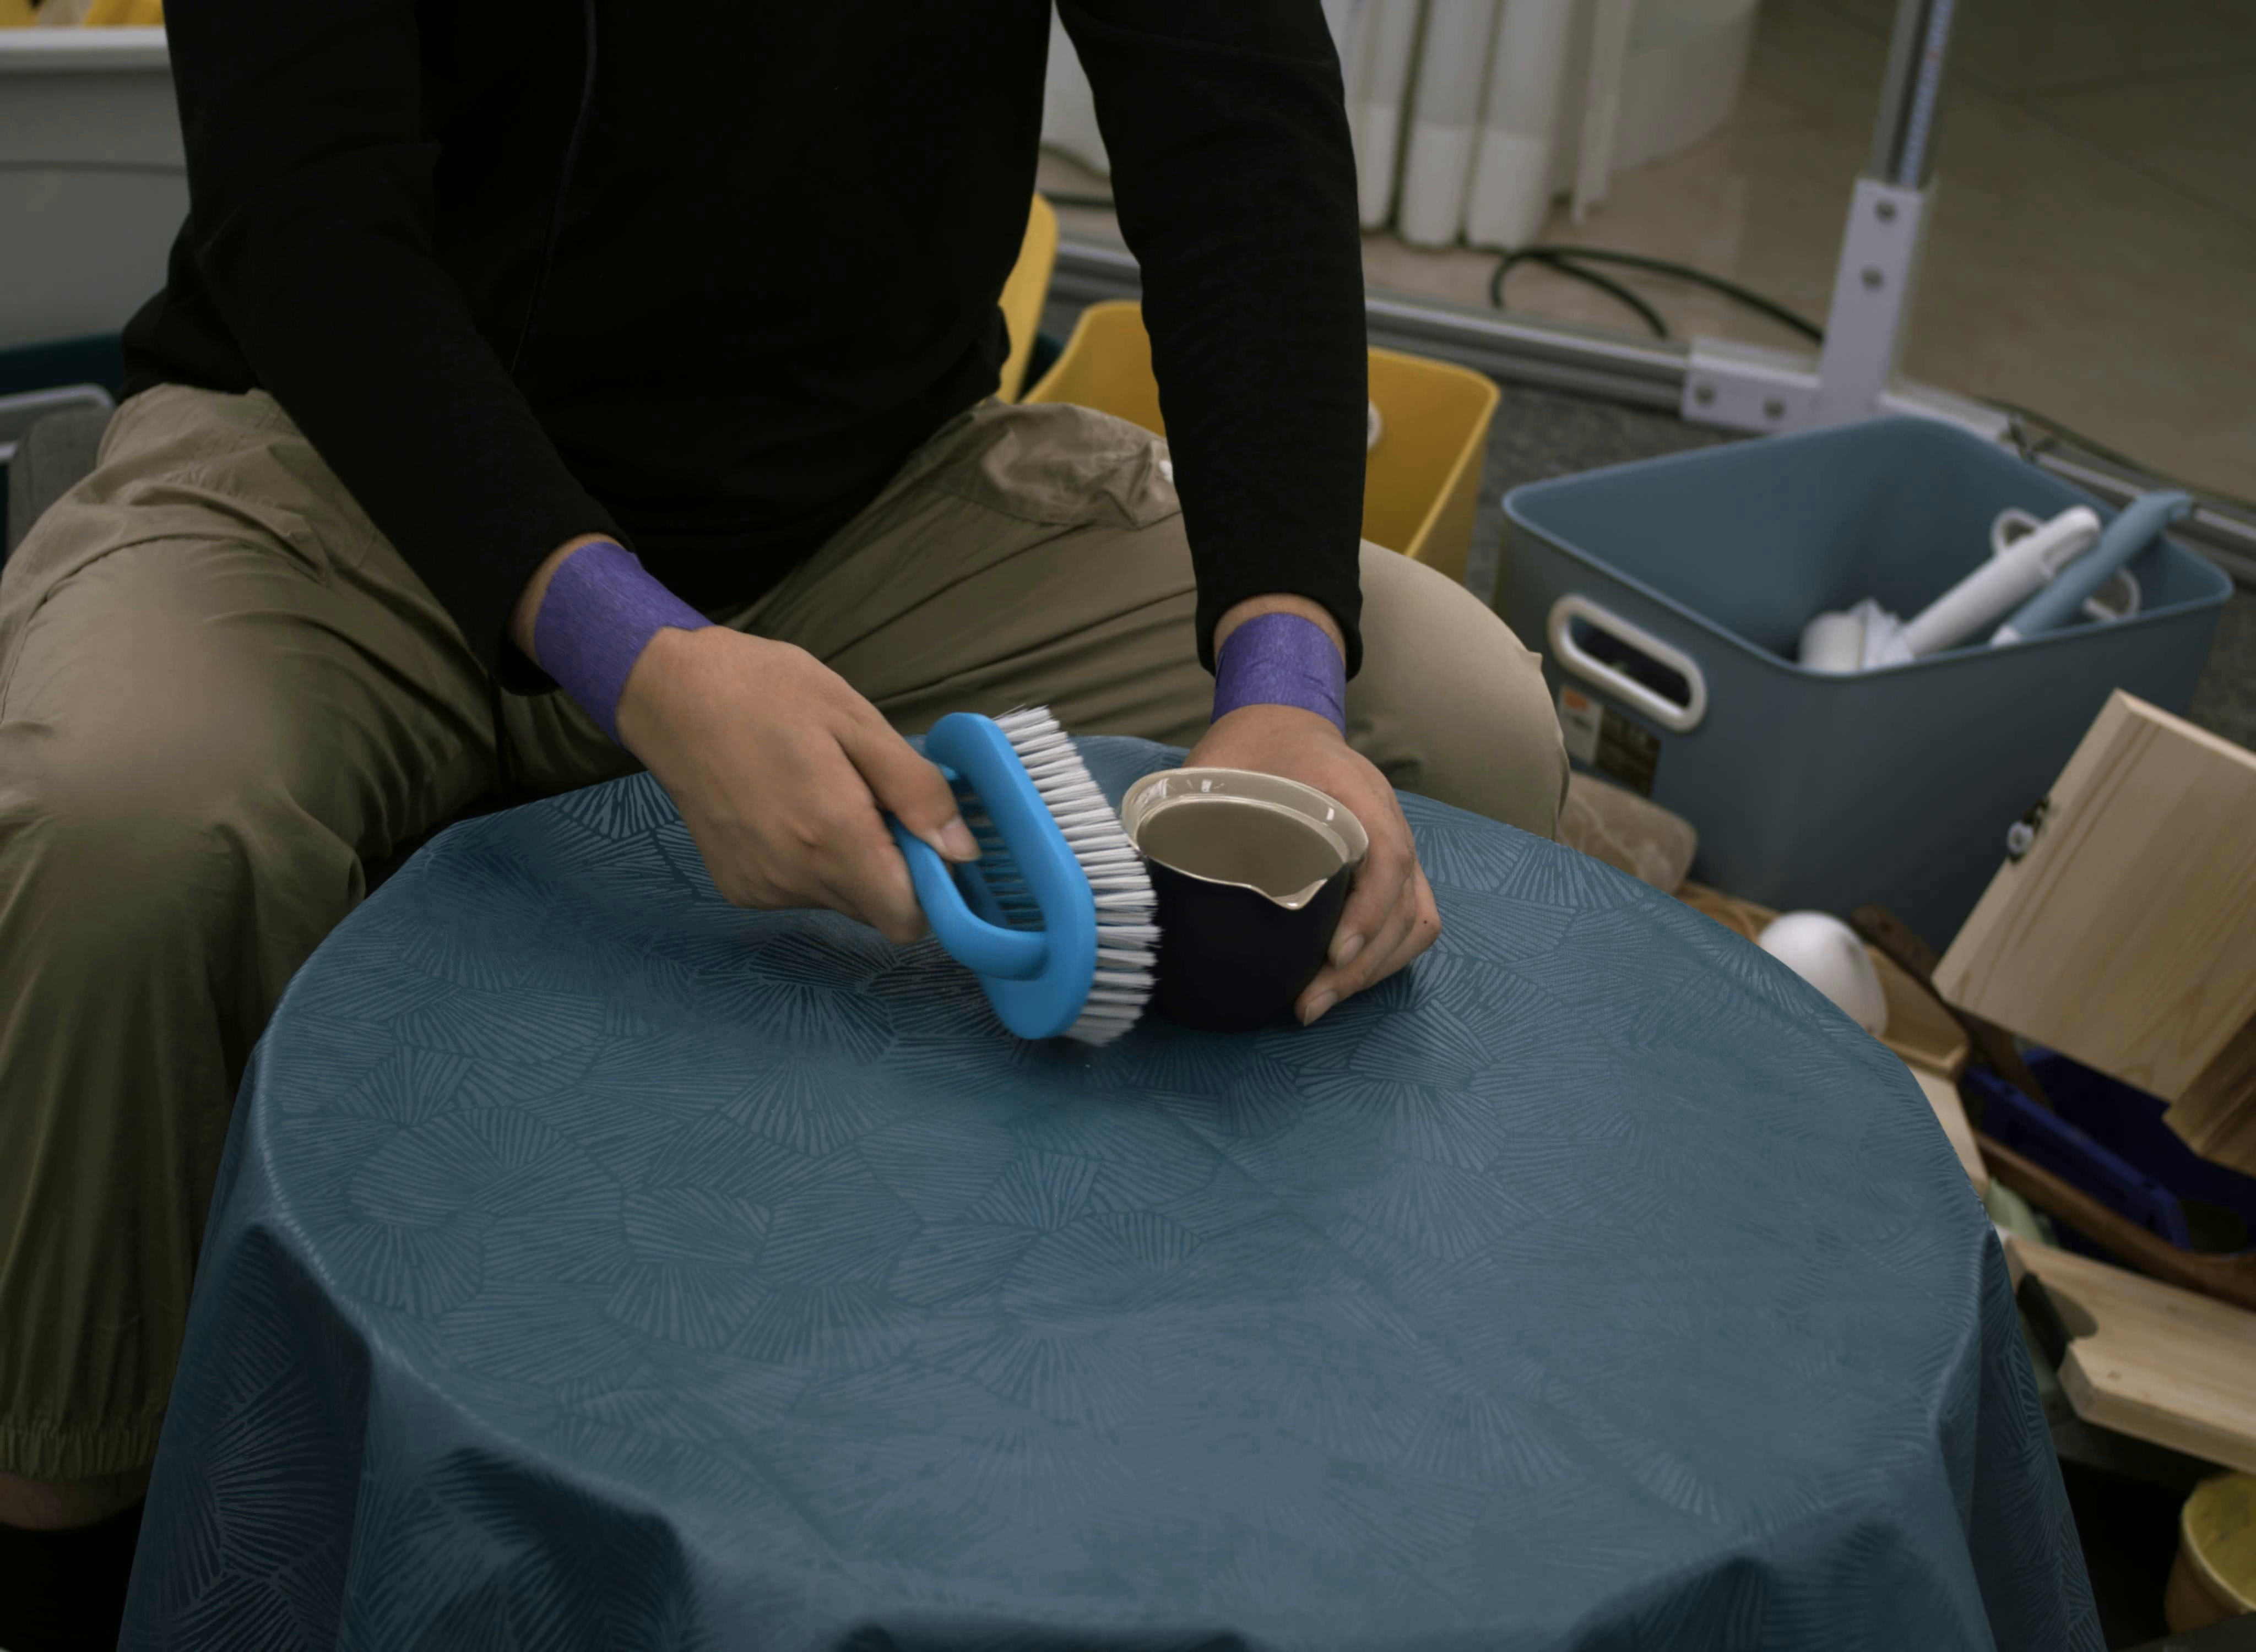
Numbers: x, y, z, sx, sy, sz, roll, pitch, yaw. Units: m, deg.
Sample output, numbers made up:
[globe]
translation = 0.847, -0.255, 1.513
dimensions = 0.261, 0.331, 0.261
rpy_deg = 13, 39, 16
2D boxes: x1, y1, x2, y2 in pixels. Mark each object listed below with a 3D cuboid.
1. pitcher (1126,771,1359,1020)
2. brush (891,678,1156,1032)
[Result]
[pitcher]
translation = 0.039, 0.029, 1.910
dimensions = 0.083, 0.071, 0.097
rpy_deg = 1, 29, -17
[brush]
translation = -0.045, 0.014, 1.887
dimensions = 0.063, 0.084, 0.143
rpy_deg = -5, 48, -27
